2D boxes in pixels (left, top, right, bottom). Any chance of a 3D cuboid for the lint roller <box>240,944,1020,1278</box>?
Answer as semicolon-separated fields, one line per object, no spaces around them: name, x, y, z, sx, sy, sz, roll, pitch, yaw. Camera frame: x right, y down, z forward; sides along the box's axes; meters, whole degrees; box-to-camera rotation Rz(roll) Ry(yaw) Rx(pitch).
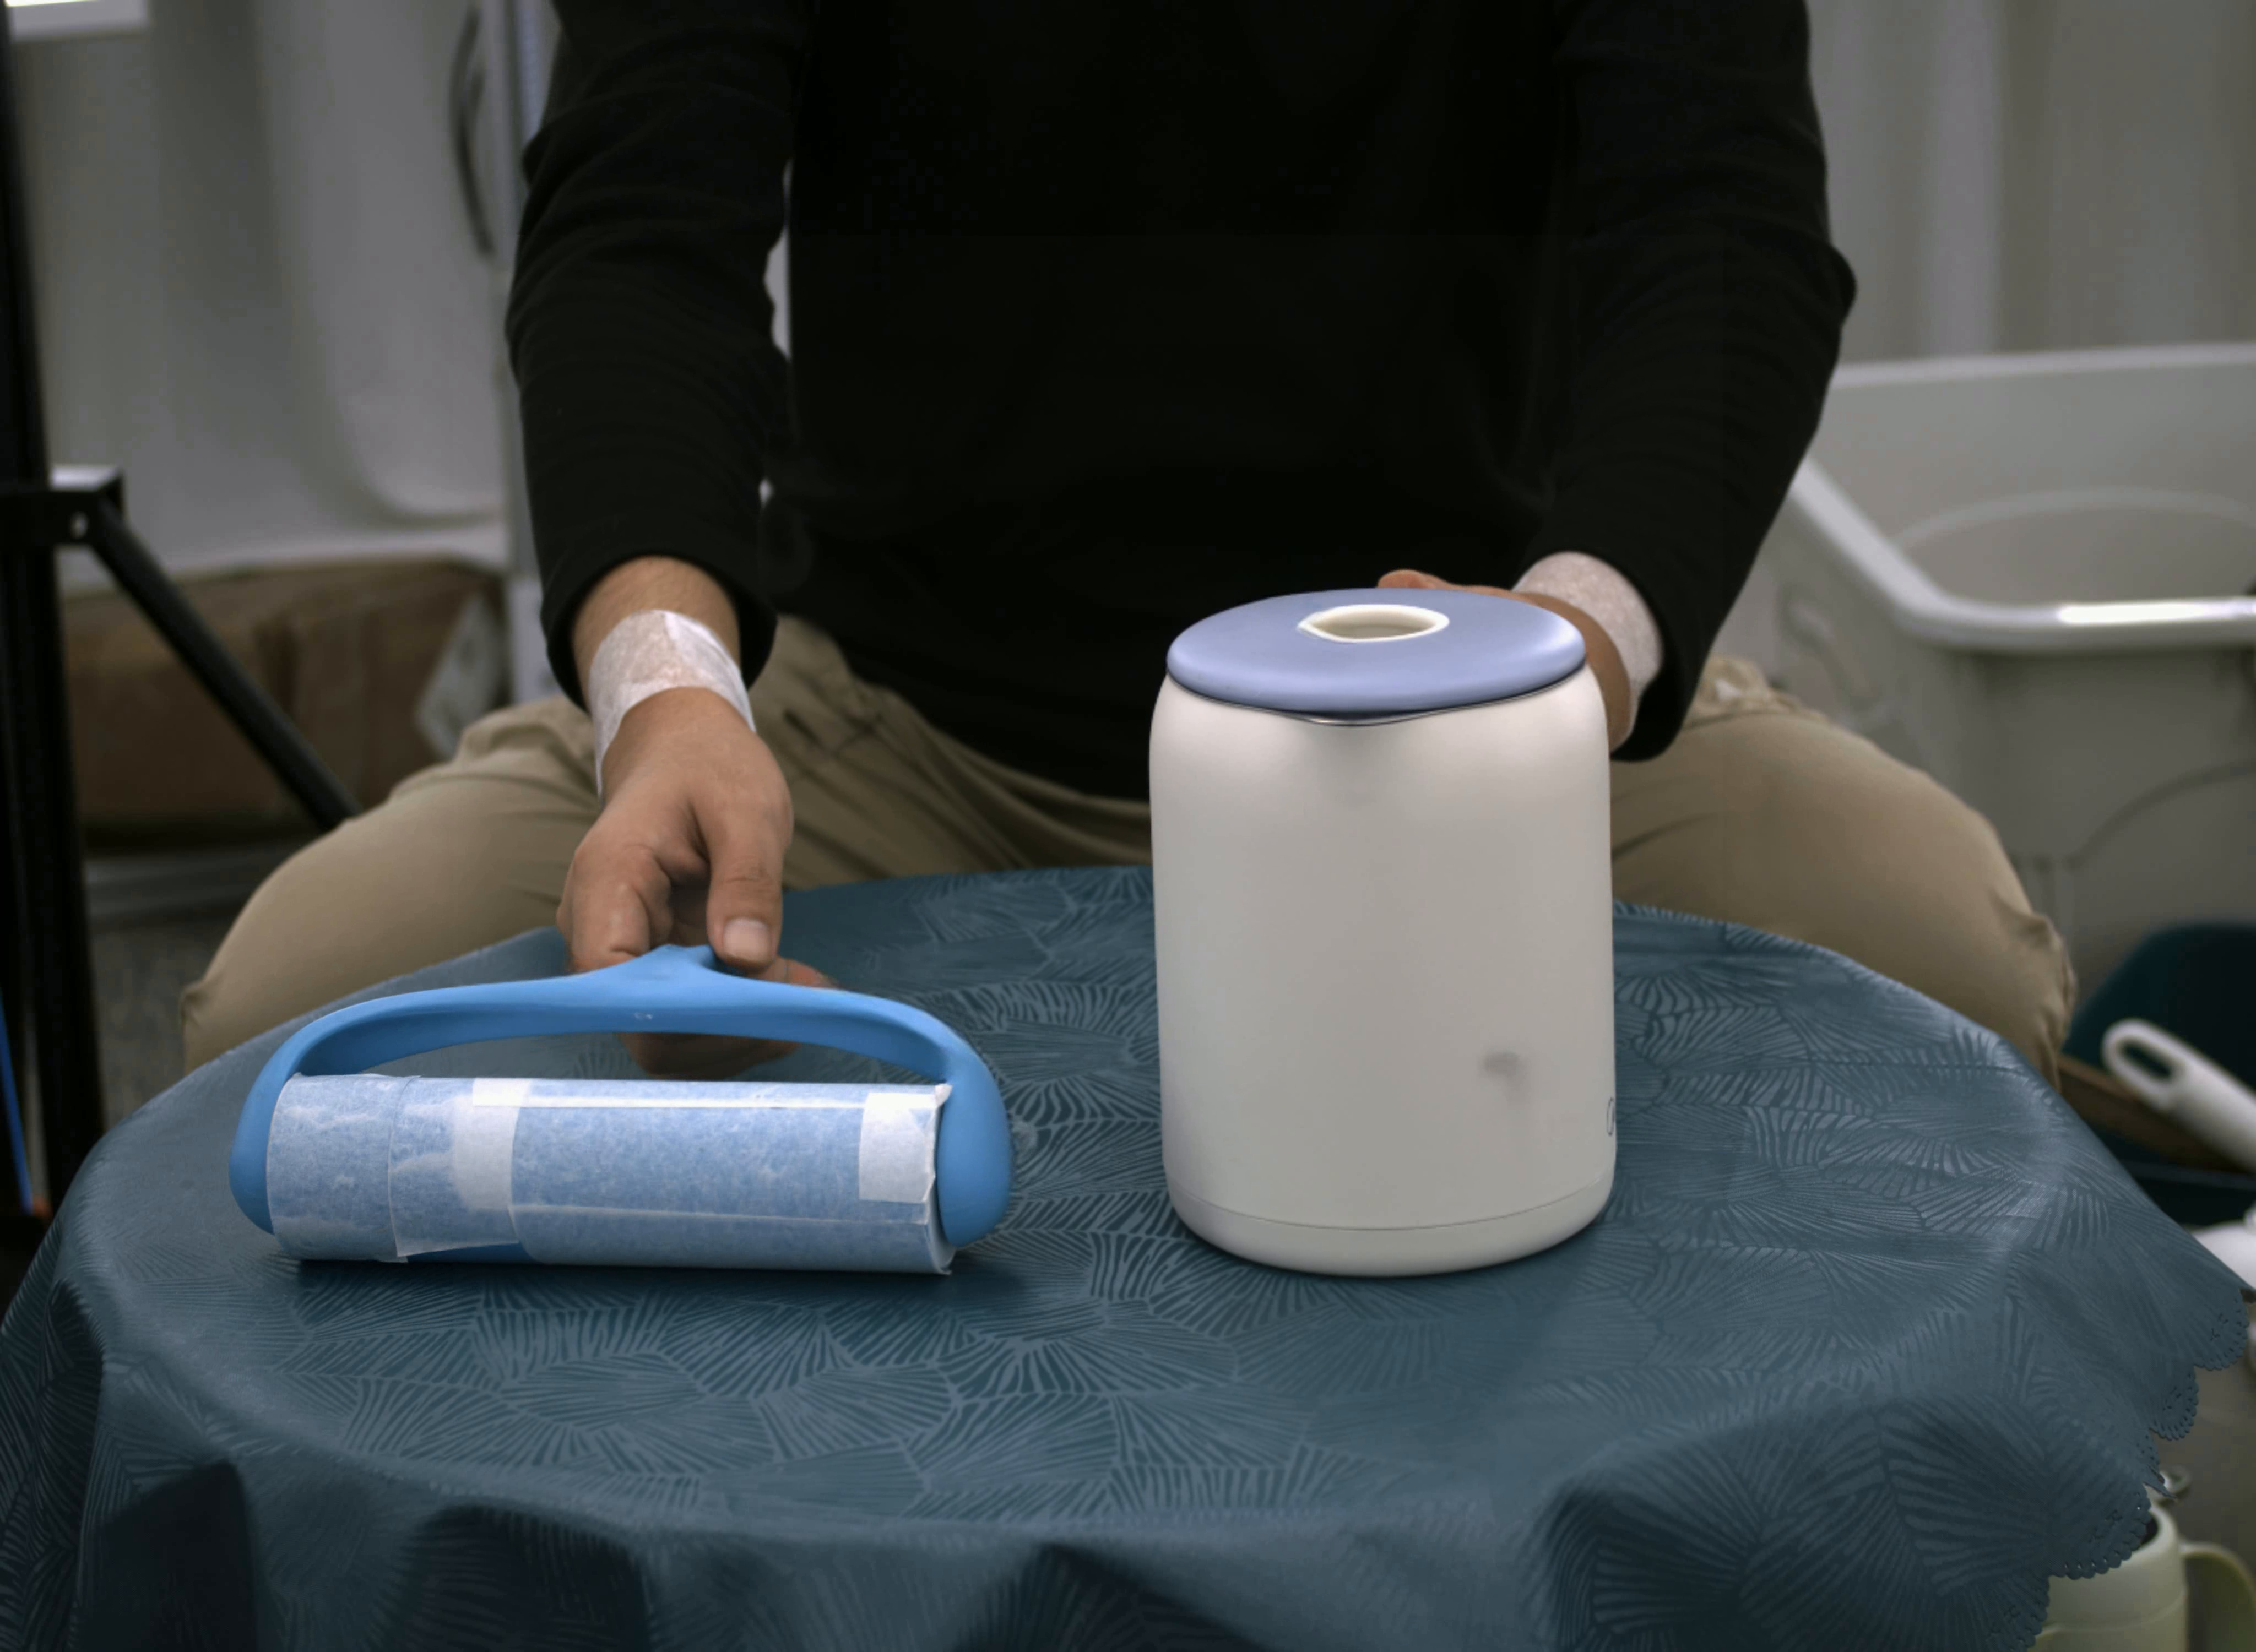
lint roller;-0.136;0.070;1.568;0.230;0.067;0.180;-3;30;11

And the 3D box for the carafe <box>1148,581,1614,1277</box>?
carafe;0.075;0.022;1.534;0.132;0.182;0.190;0;13;7
